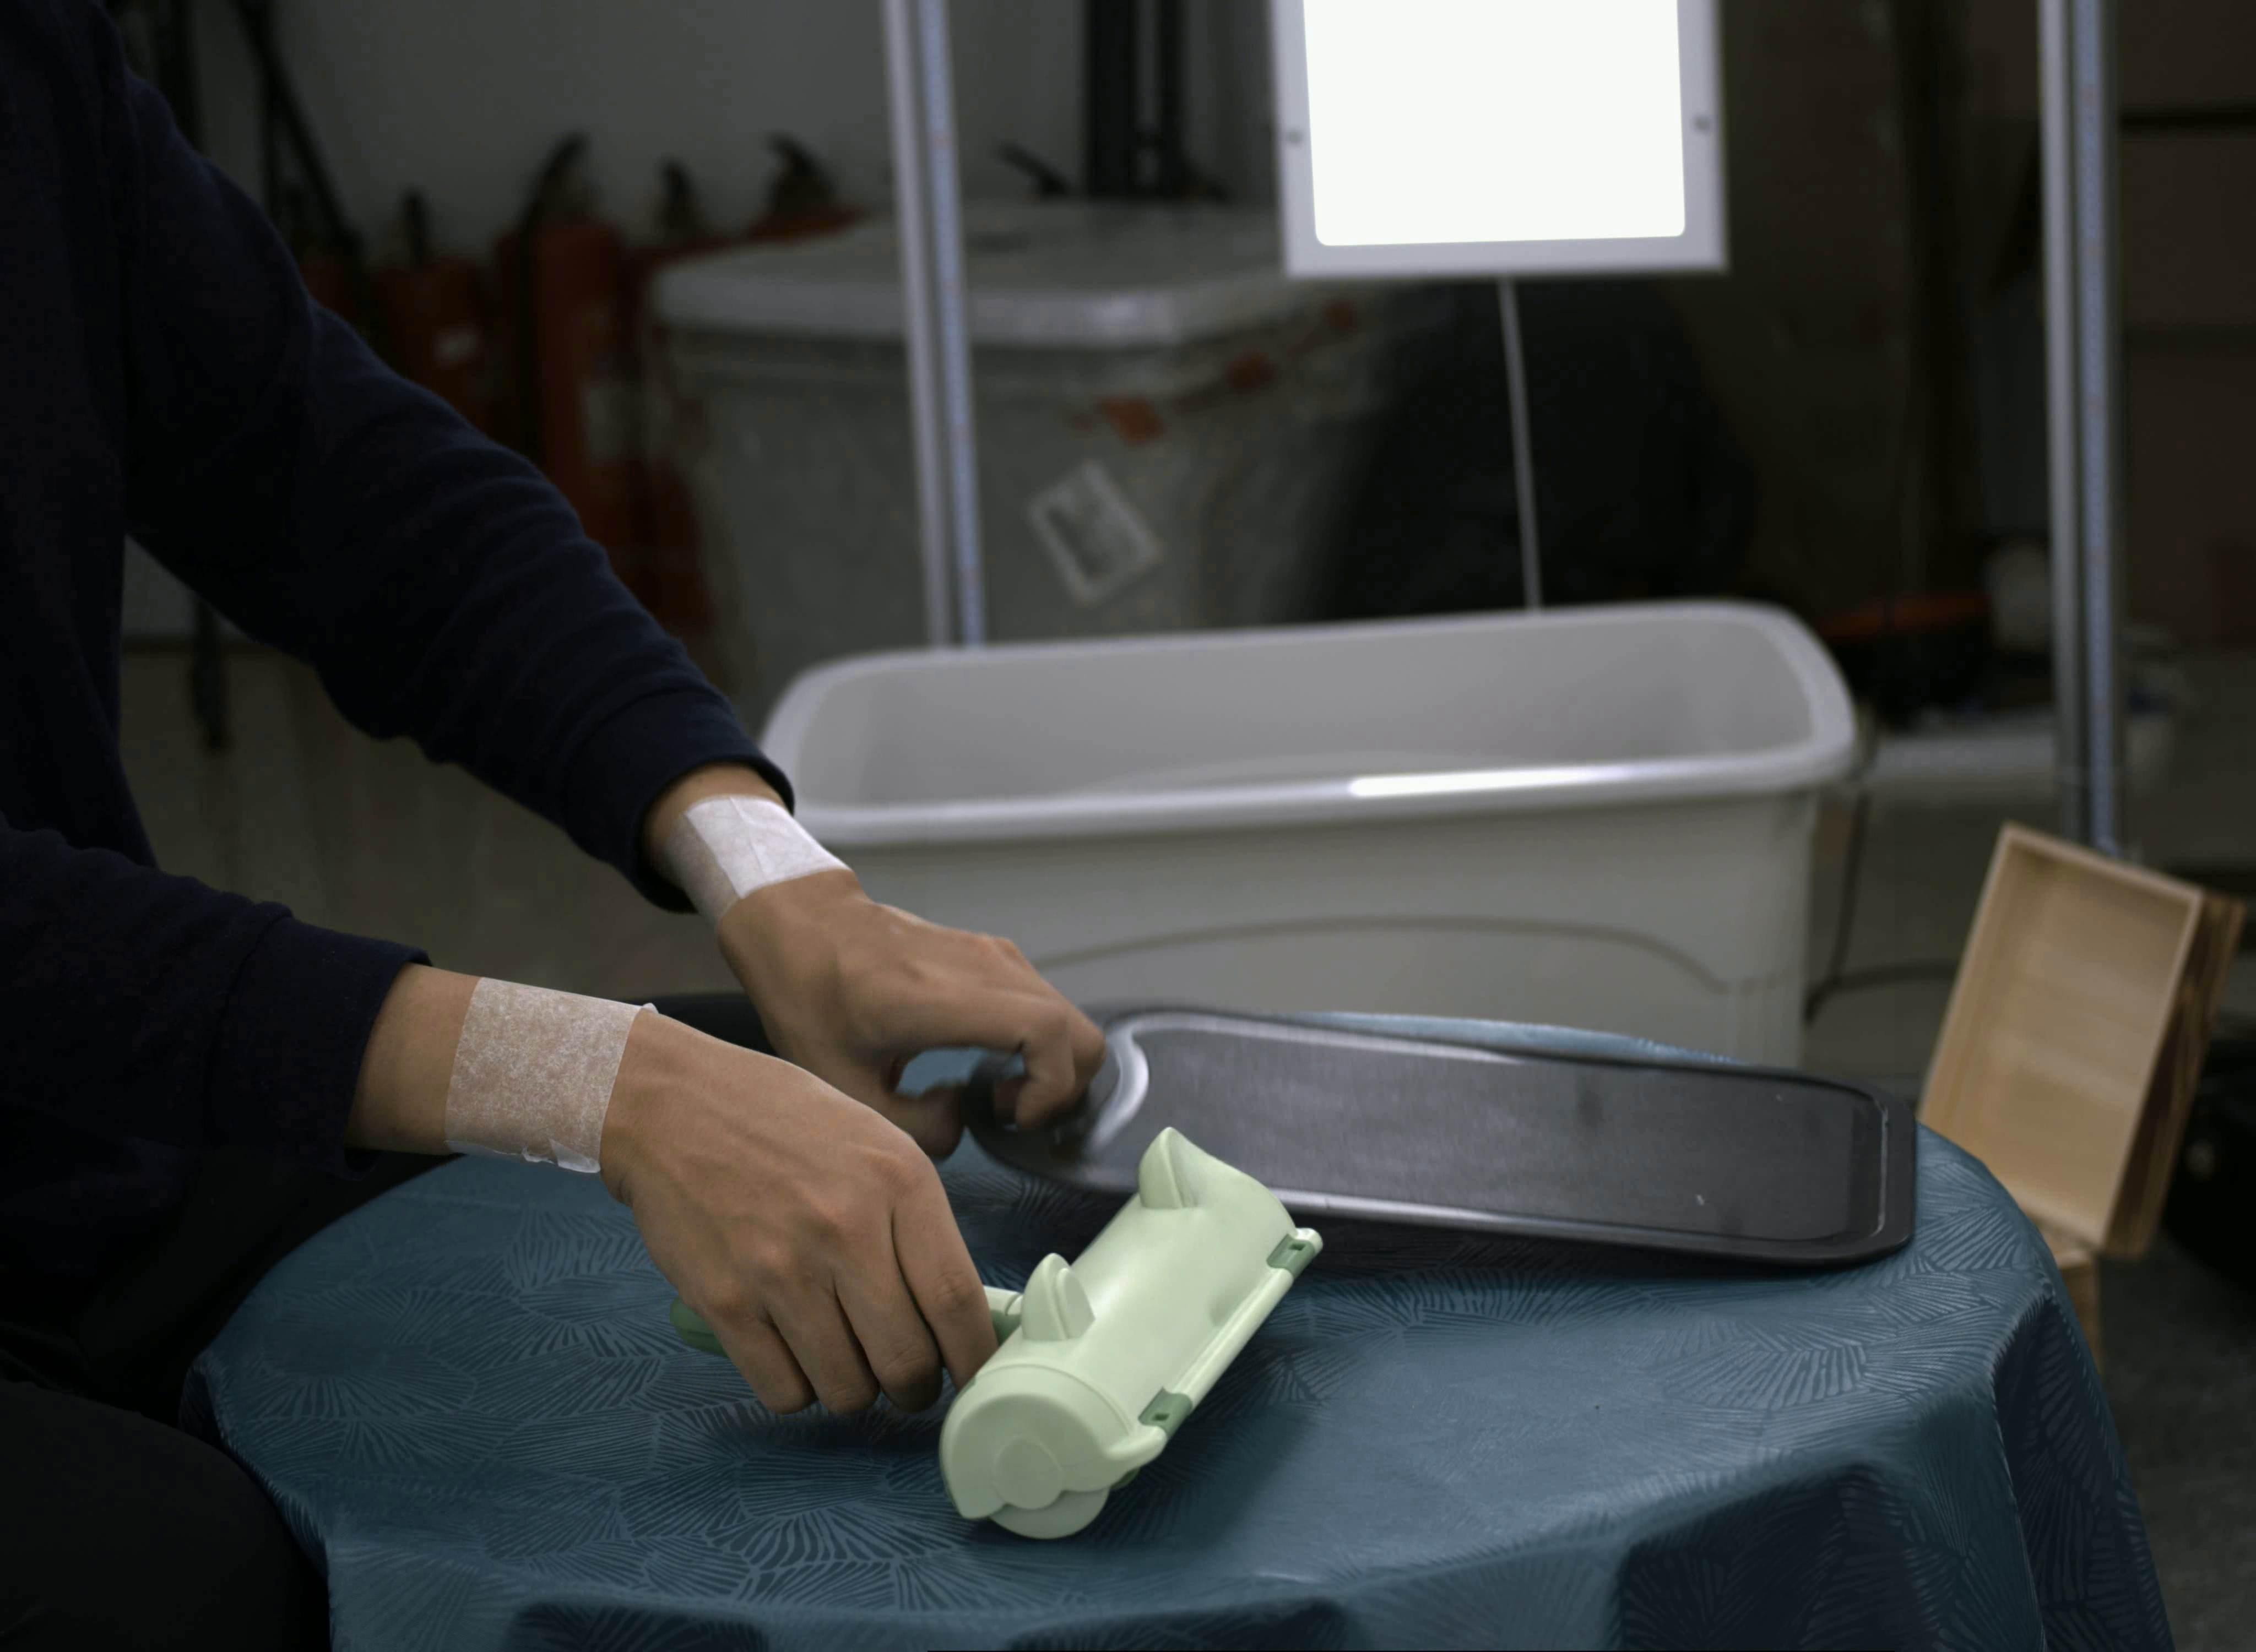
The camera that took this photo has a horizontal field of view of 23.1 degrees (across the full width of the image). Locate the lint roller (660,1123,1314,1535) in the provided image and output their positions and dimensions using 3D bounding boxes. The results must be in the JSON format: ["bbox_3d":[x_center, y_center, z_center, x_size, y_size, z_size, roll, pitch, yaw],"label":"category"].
[{"bbox_3d":[-0.052,0.134,1.671,0.185,0.083,0.195,15,19,14],"label":"lint roller"}]

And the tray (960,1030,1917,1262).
[{"bbox_3d":[0.106,0.105,1.867,0.327,0.010,0.209,4,14,10],"label":"tray"}]
